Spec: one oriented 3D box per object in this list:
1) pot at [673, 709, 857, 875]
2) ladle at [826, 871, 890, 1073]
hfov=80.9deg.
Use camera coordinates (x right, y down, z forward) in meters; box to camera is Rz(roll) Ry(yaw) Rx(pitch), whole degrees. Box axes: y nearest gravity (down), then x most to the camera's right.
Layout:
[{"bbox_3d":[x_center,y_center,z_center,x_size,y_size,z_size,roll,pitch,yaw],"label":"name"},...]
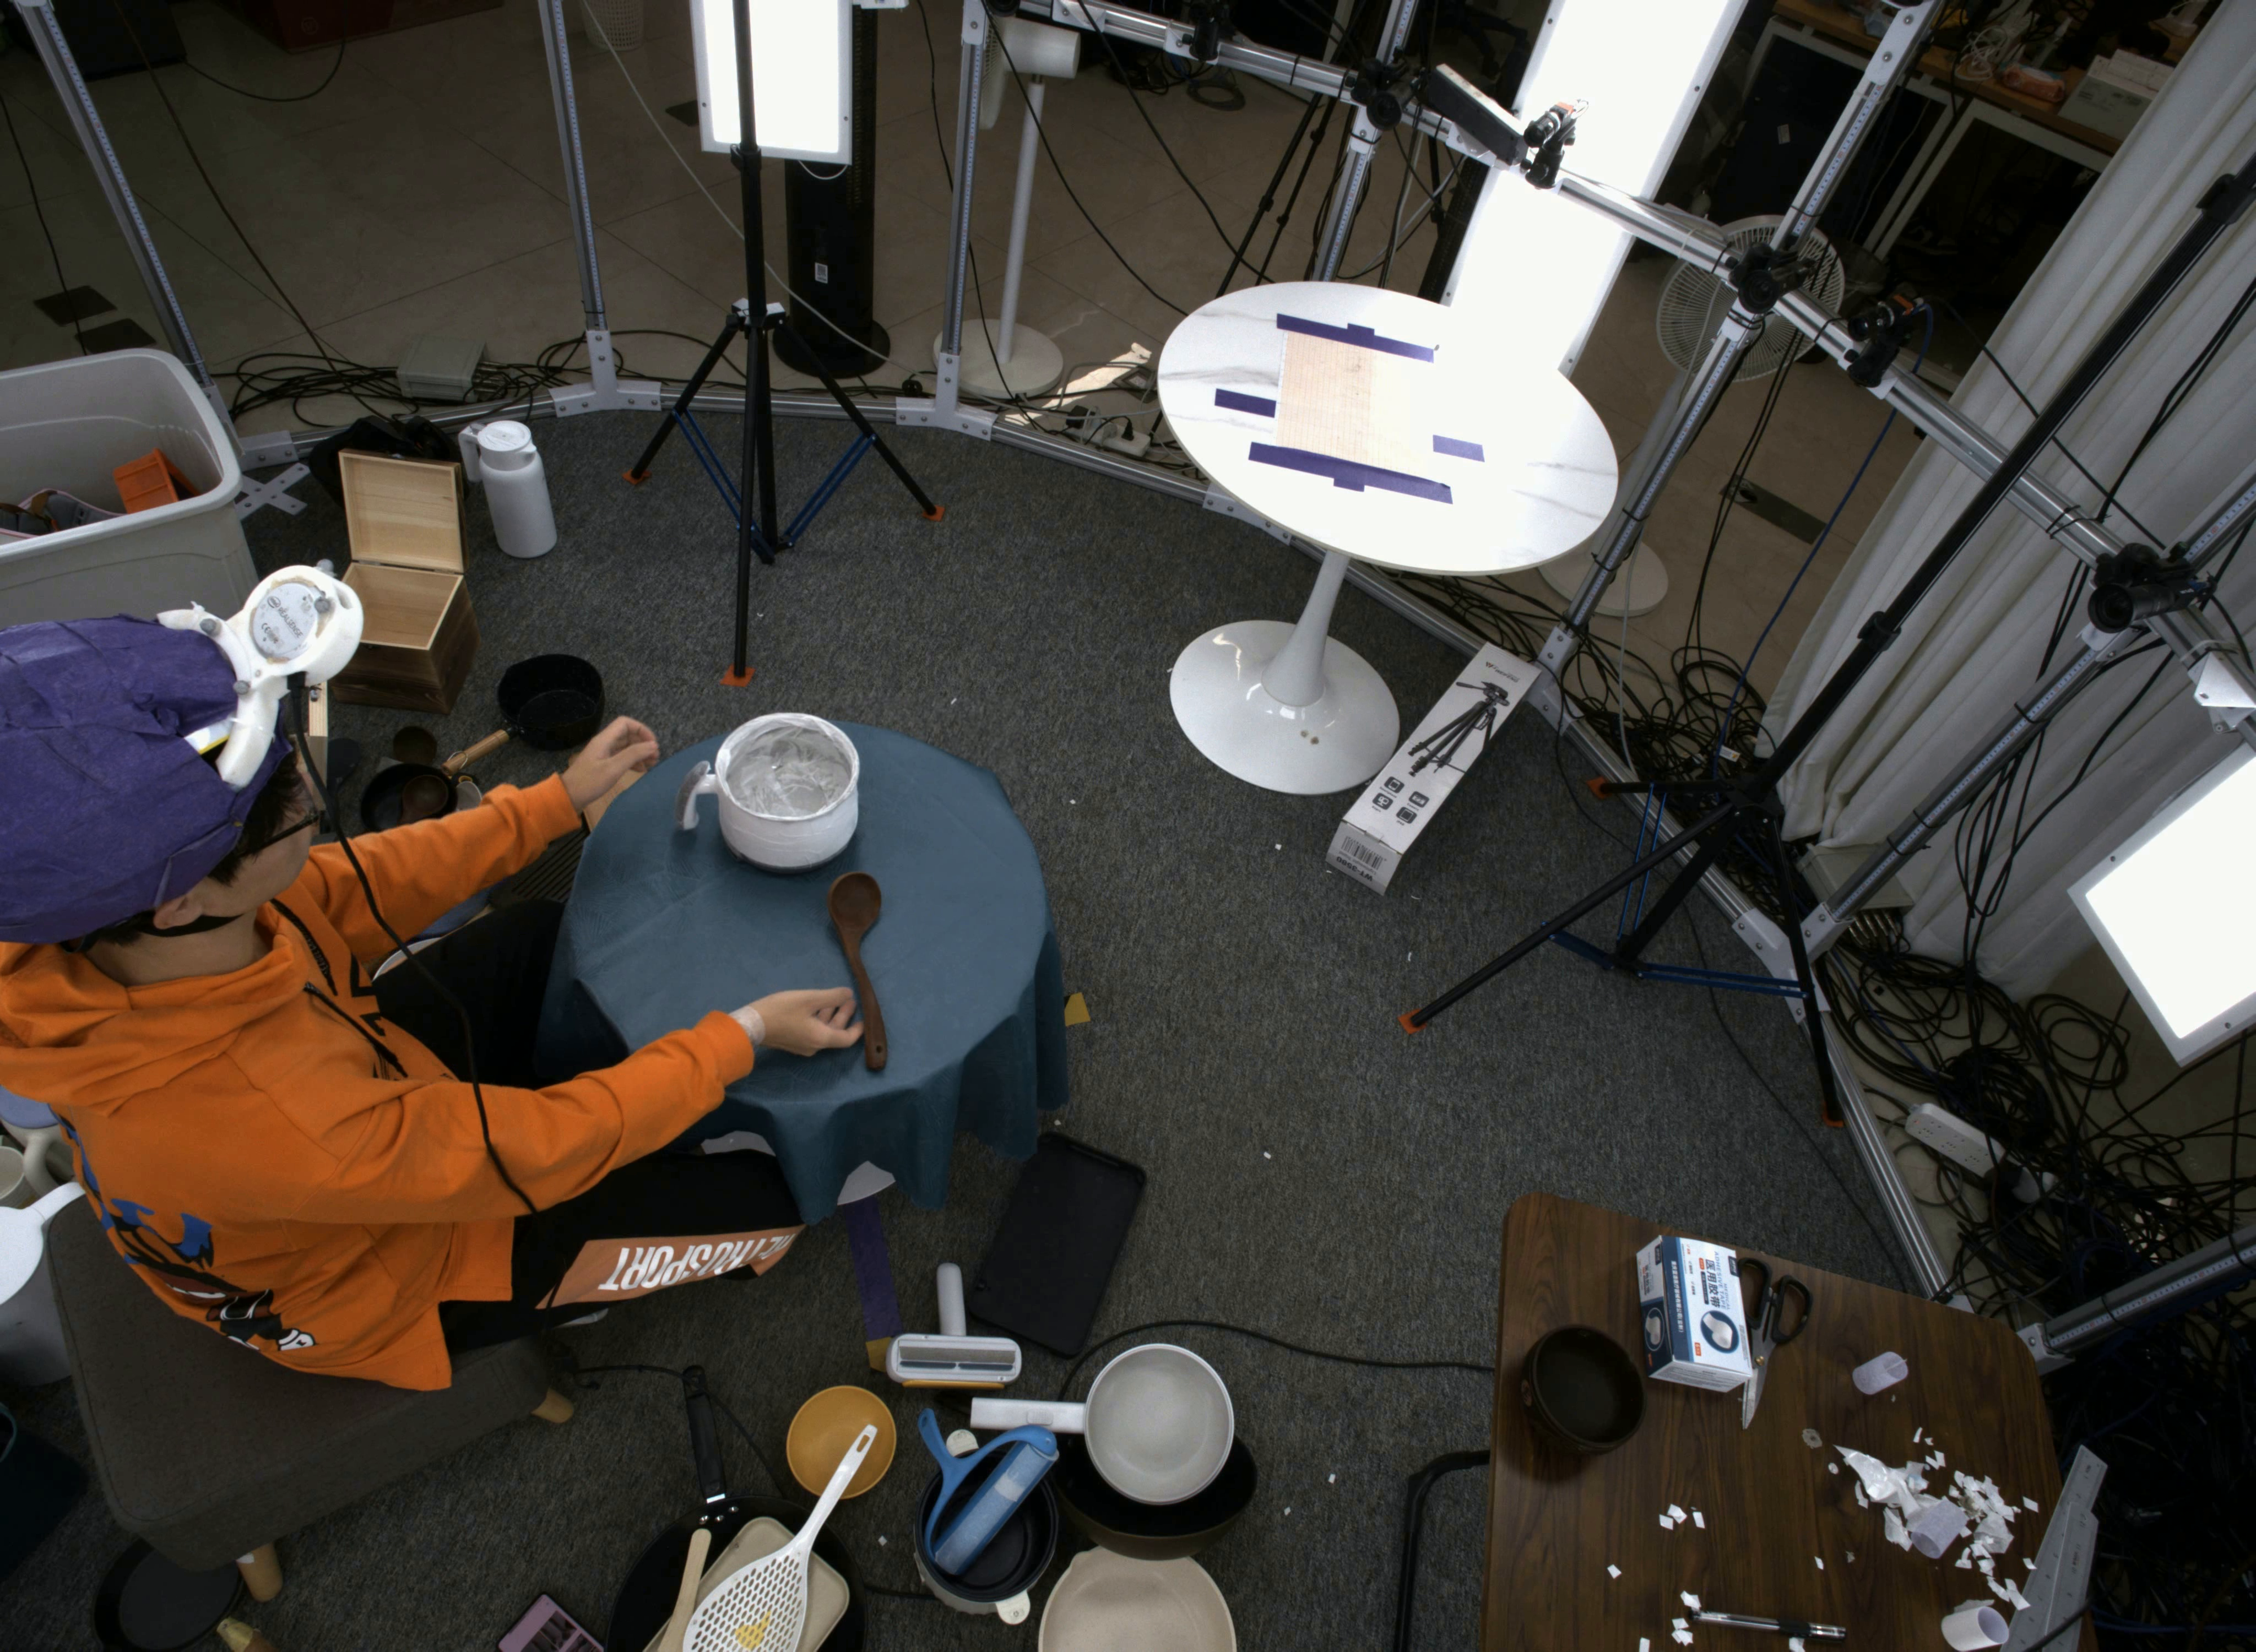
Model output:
[{"bbox_3d":[-0.462,-0.038,1.644,0.234,0.139,0.174,-3,53,-16],"label":"pot"},{"bbox_3d":[-0.316,0.169,1.576,0.078,0.065,0.254,10,47,-39],"label":"ladle"}]
